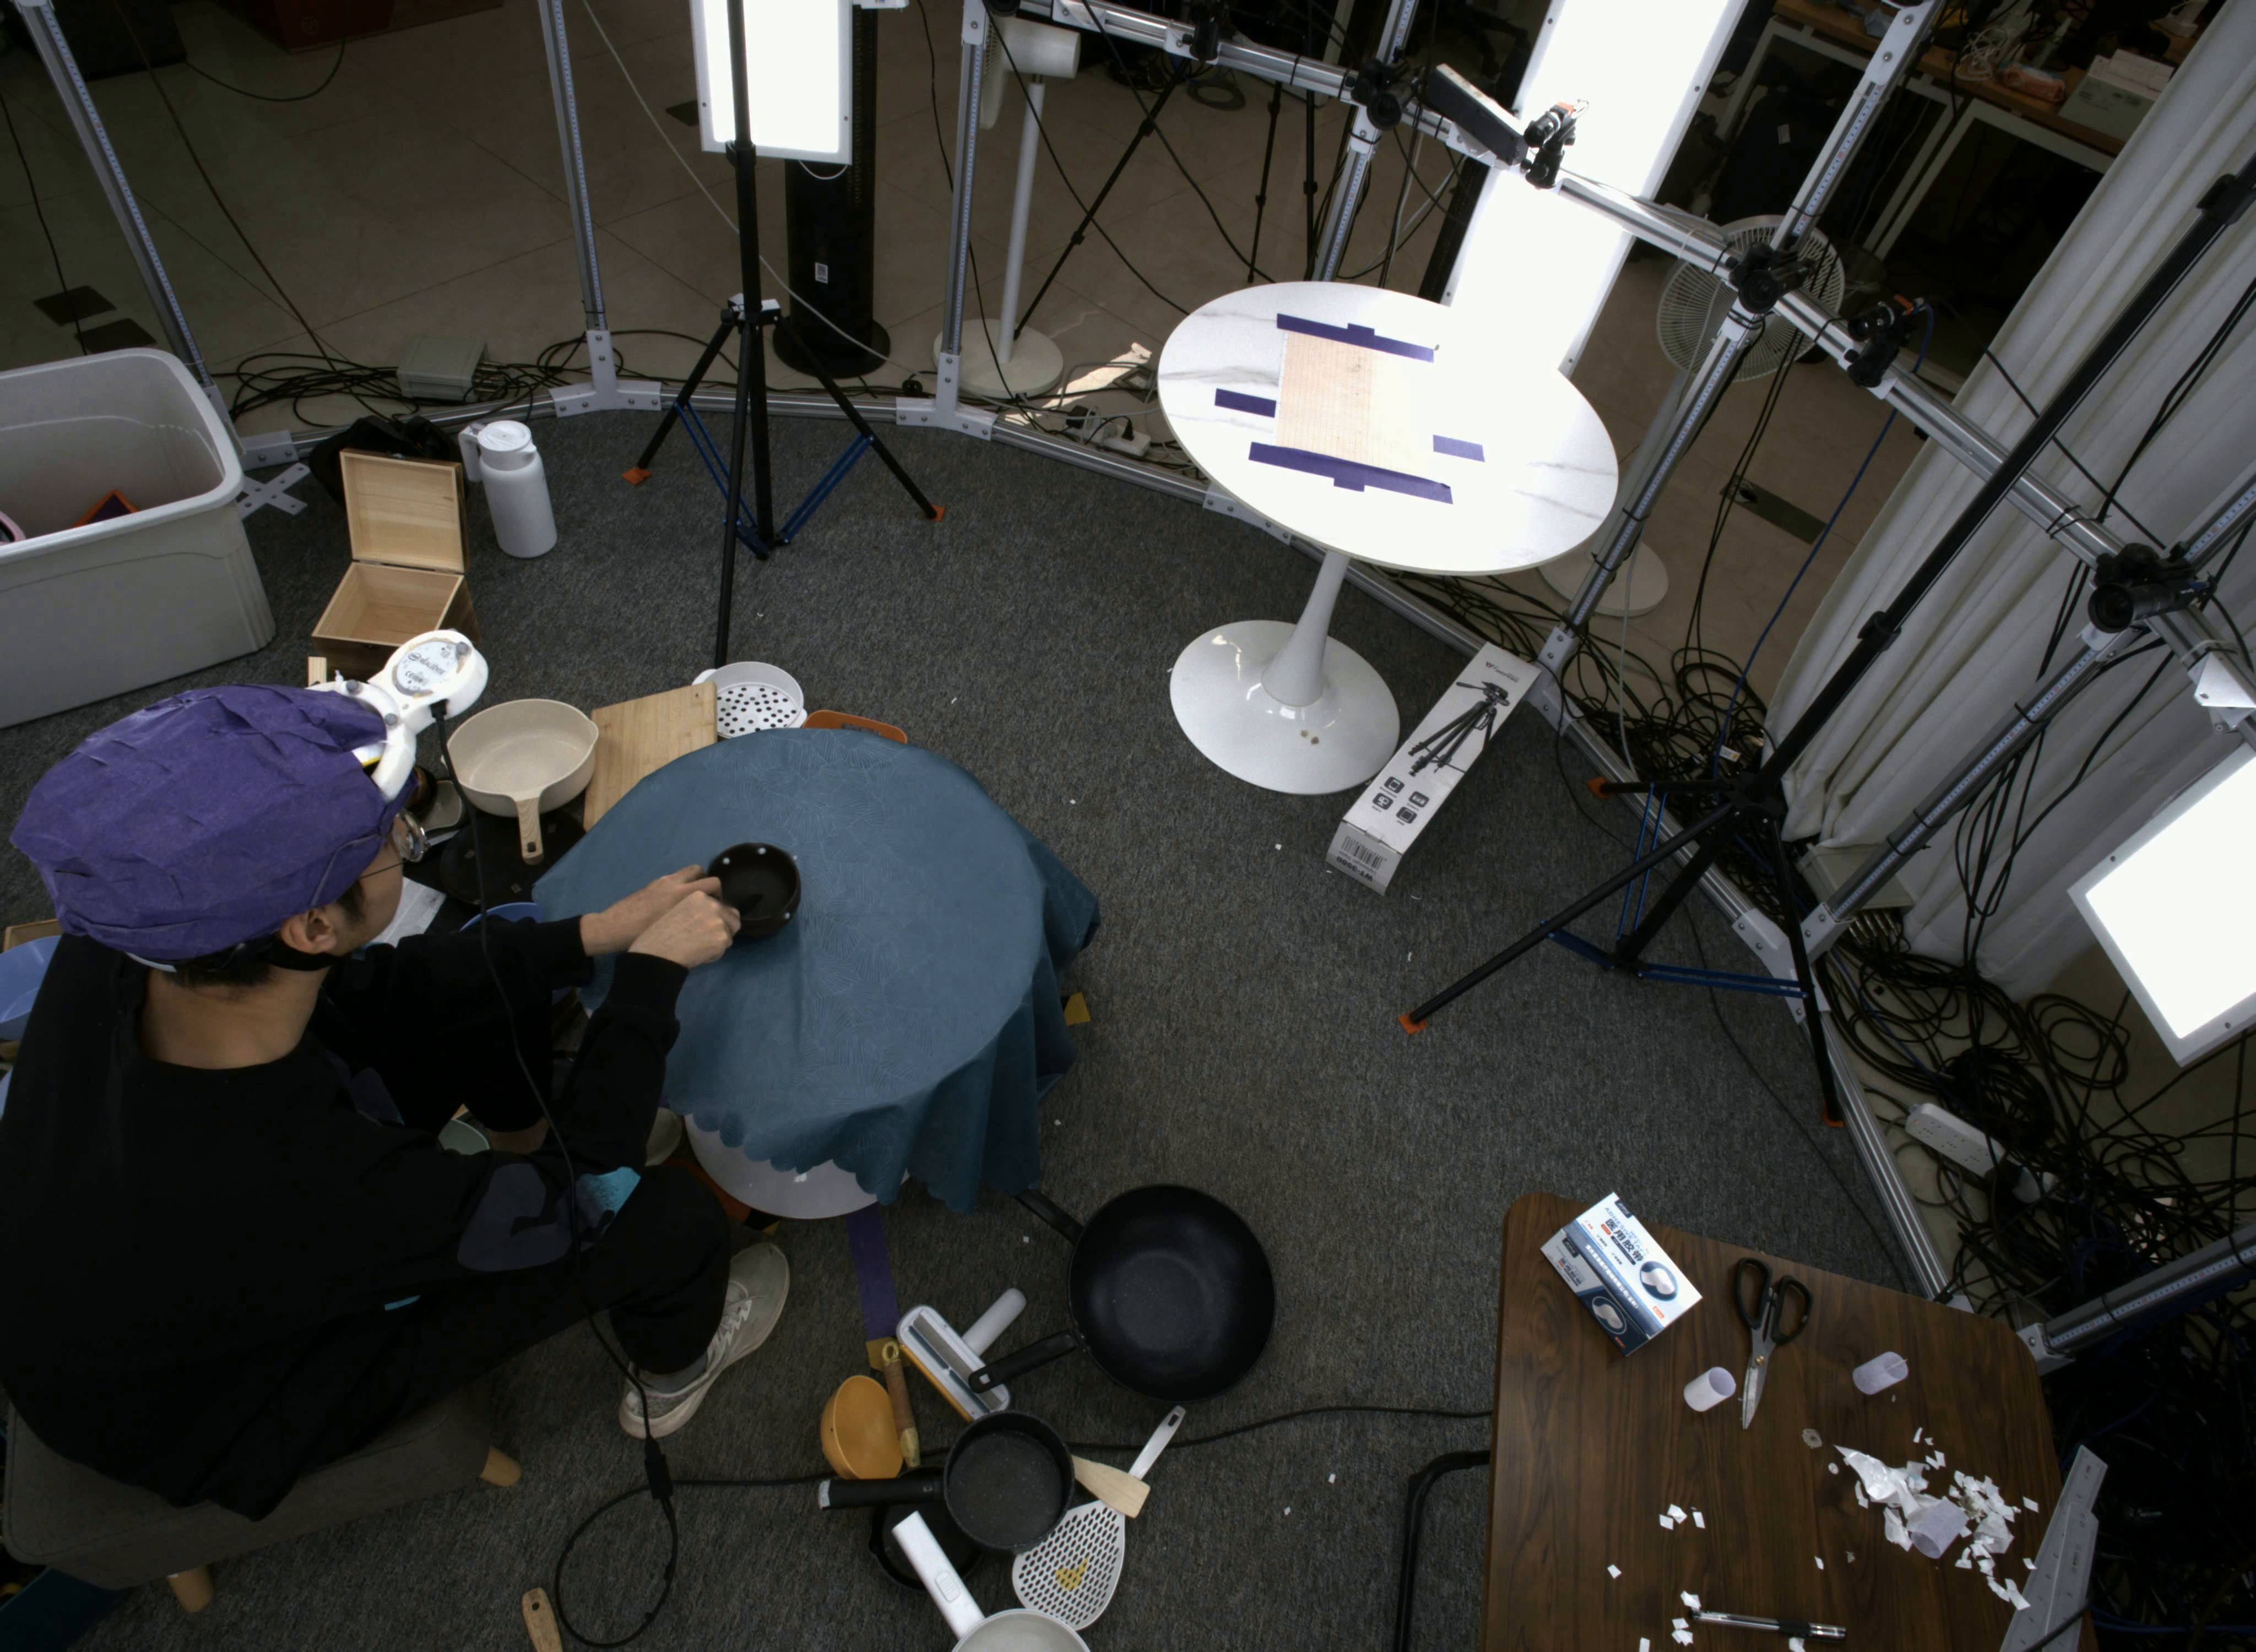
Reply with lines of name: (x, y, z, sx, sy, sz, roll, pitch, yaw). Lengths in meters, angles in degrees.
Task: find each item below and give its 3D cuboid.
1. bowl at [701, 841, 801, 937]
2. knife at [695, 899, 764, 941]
bowl: (-0.461, 0.084, 1.591, 0.117, 0.071, 0.116, 6, 53, -7)
knife: (-0.460, 0.101, 1.505, 0.017, 0.224, 0.027, -1, 97, 2)
